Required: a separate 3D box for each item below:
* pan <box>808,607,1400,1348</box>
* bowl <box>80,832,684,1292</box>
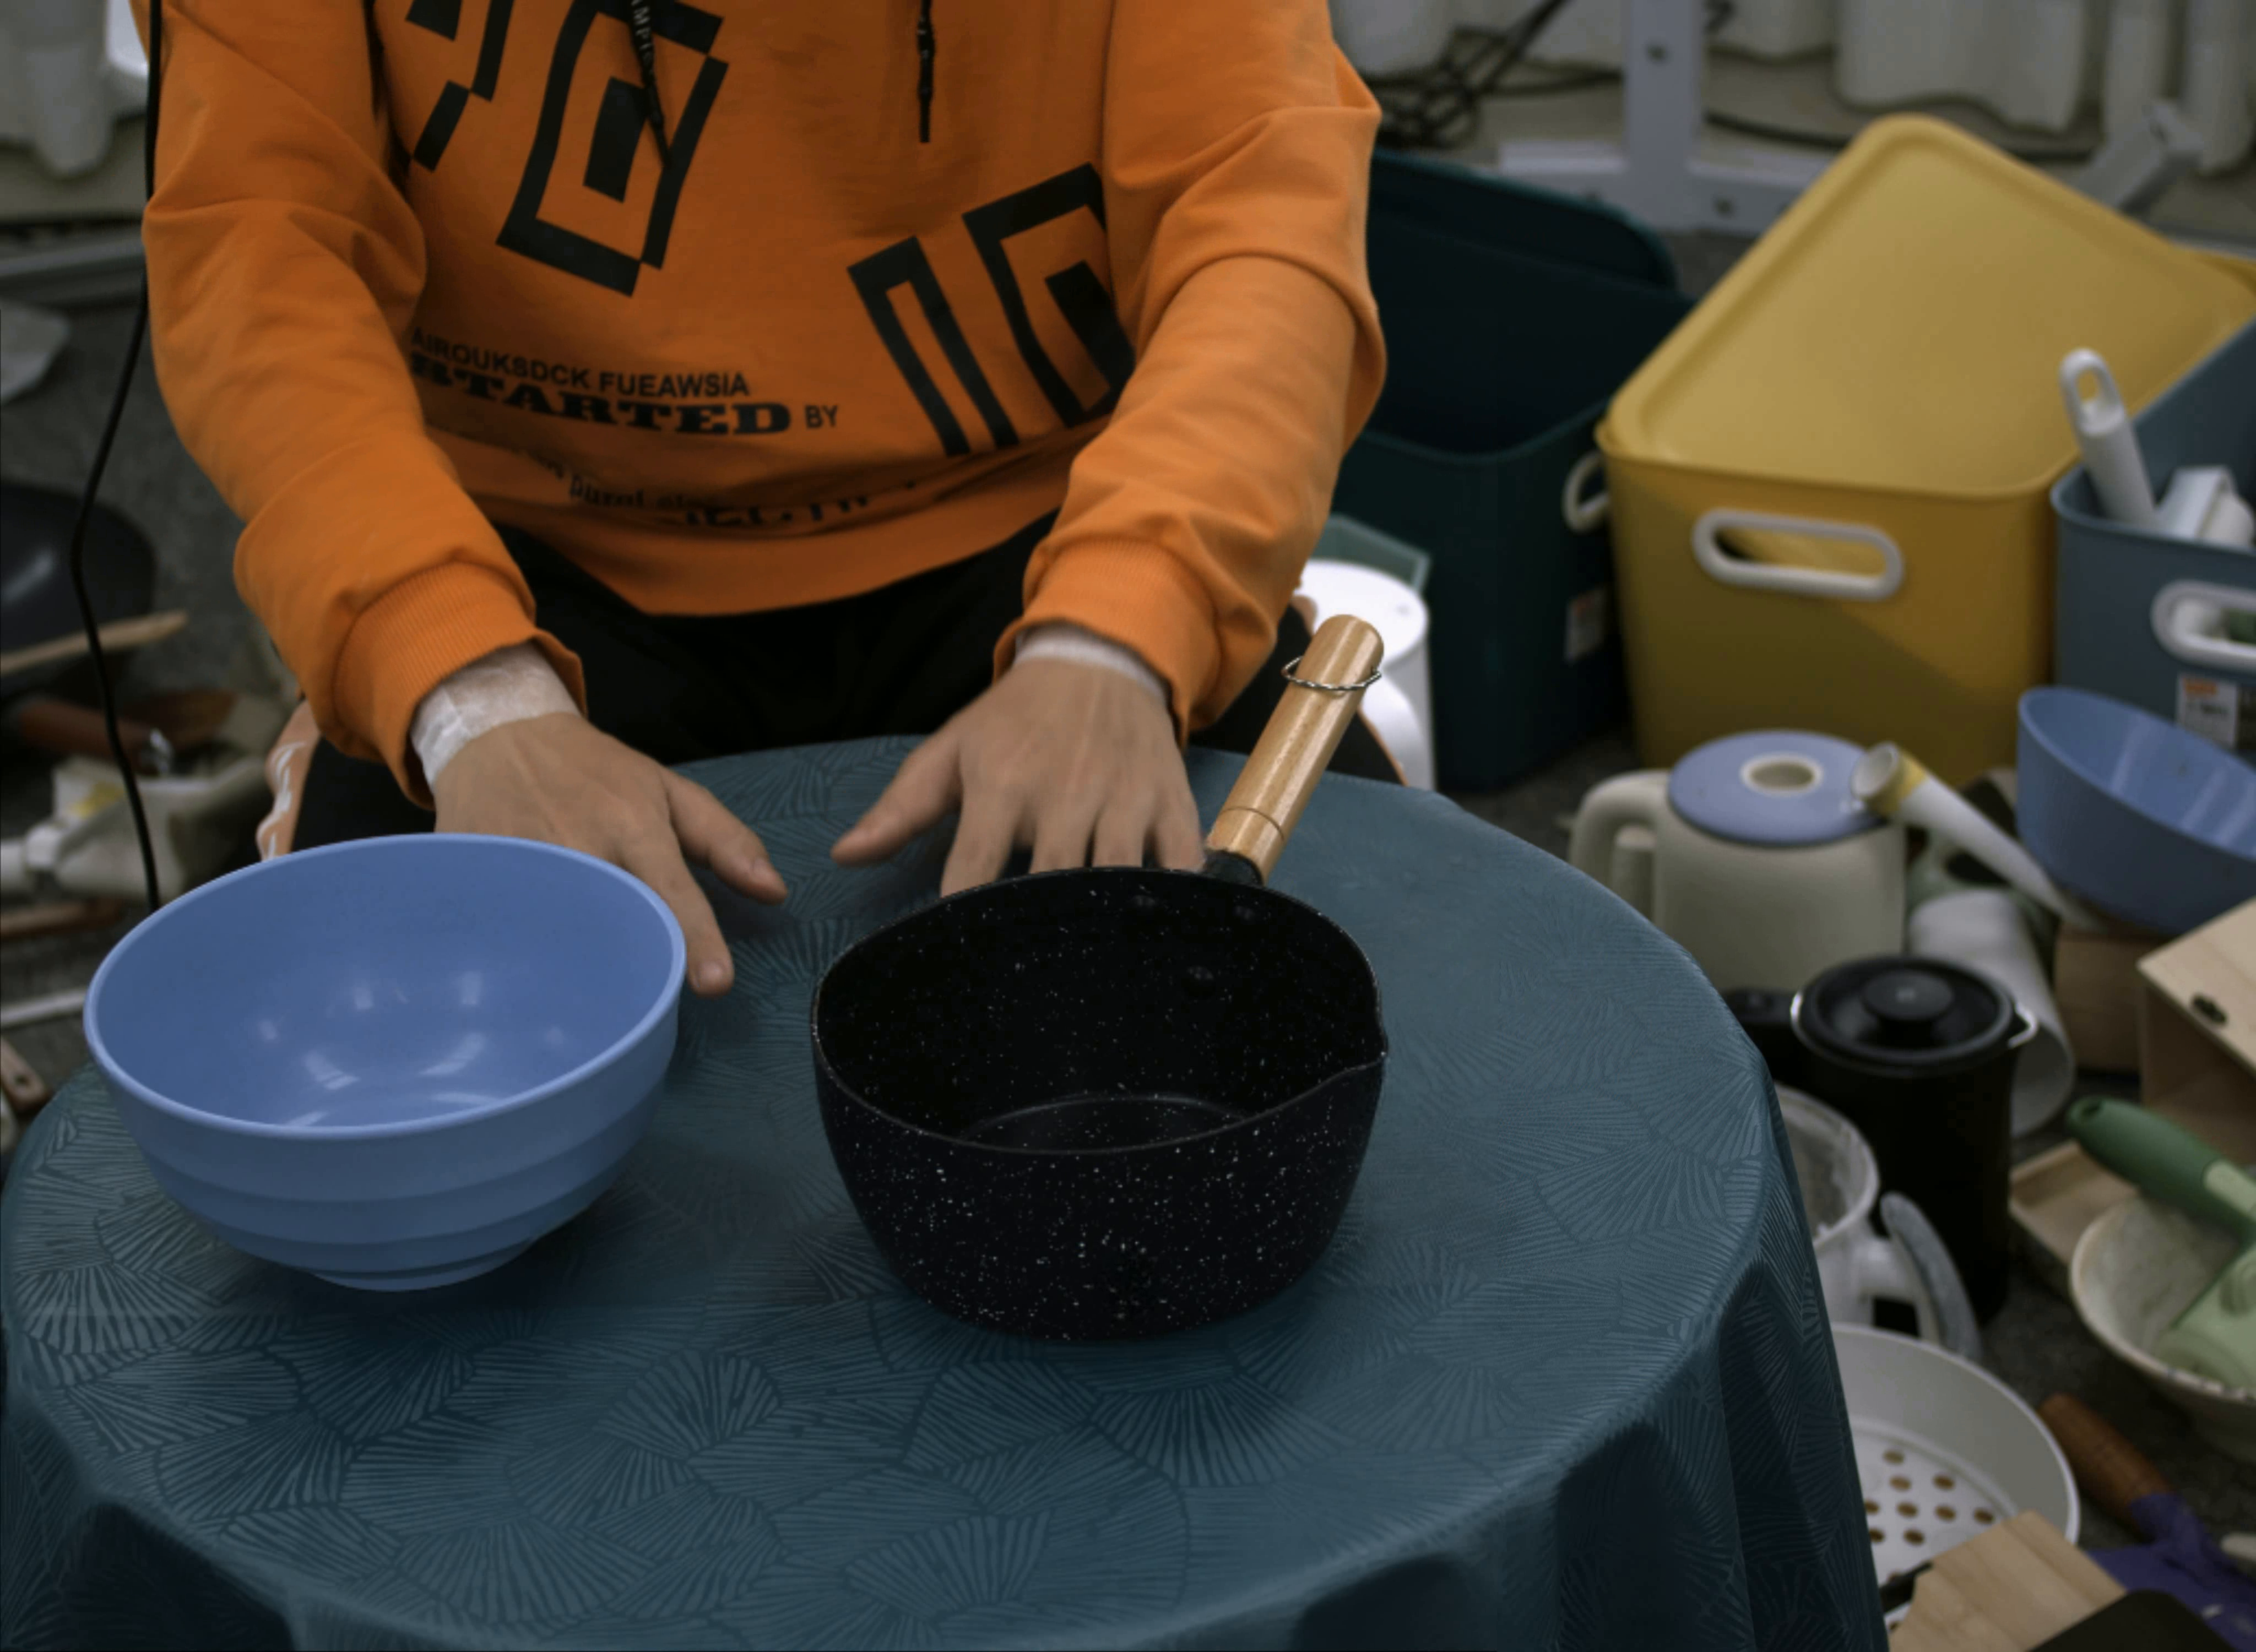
[{"bbox_3d":[0.019,0.047,1.888,0.206,0.107,0.349,6,30,20],"label":"pan"},{"bbox_3d":[-0.239,0.089,1.845,0.195,0.094,0.199,-3,28,2],"label":"bowl"}]
